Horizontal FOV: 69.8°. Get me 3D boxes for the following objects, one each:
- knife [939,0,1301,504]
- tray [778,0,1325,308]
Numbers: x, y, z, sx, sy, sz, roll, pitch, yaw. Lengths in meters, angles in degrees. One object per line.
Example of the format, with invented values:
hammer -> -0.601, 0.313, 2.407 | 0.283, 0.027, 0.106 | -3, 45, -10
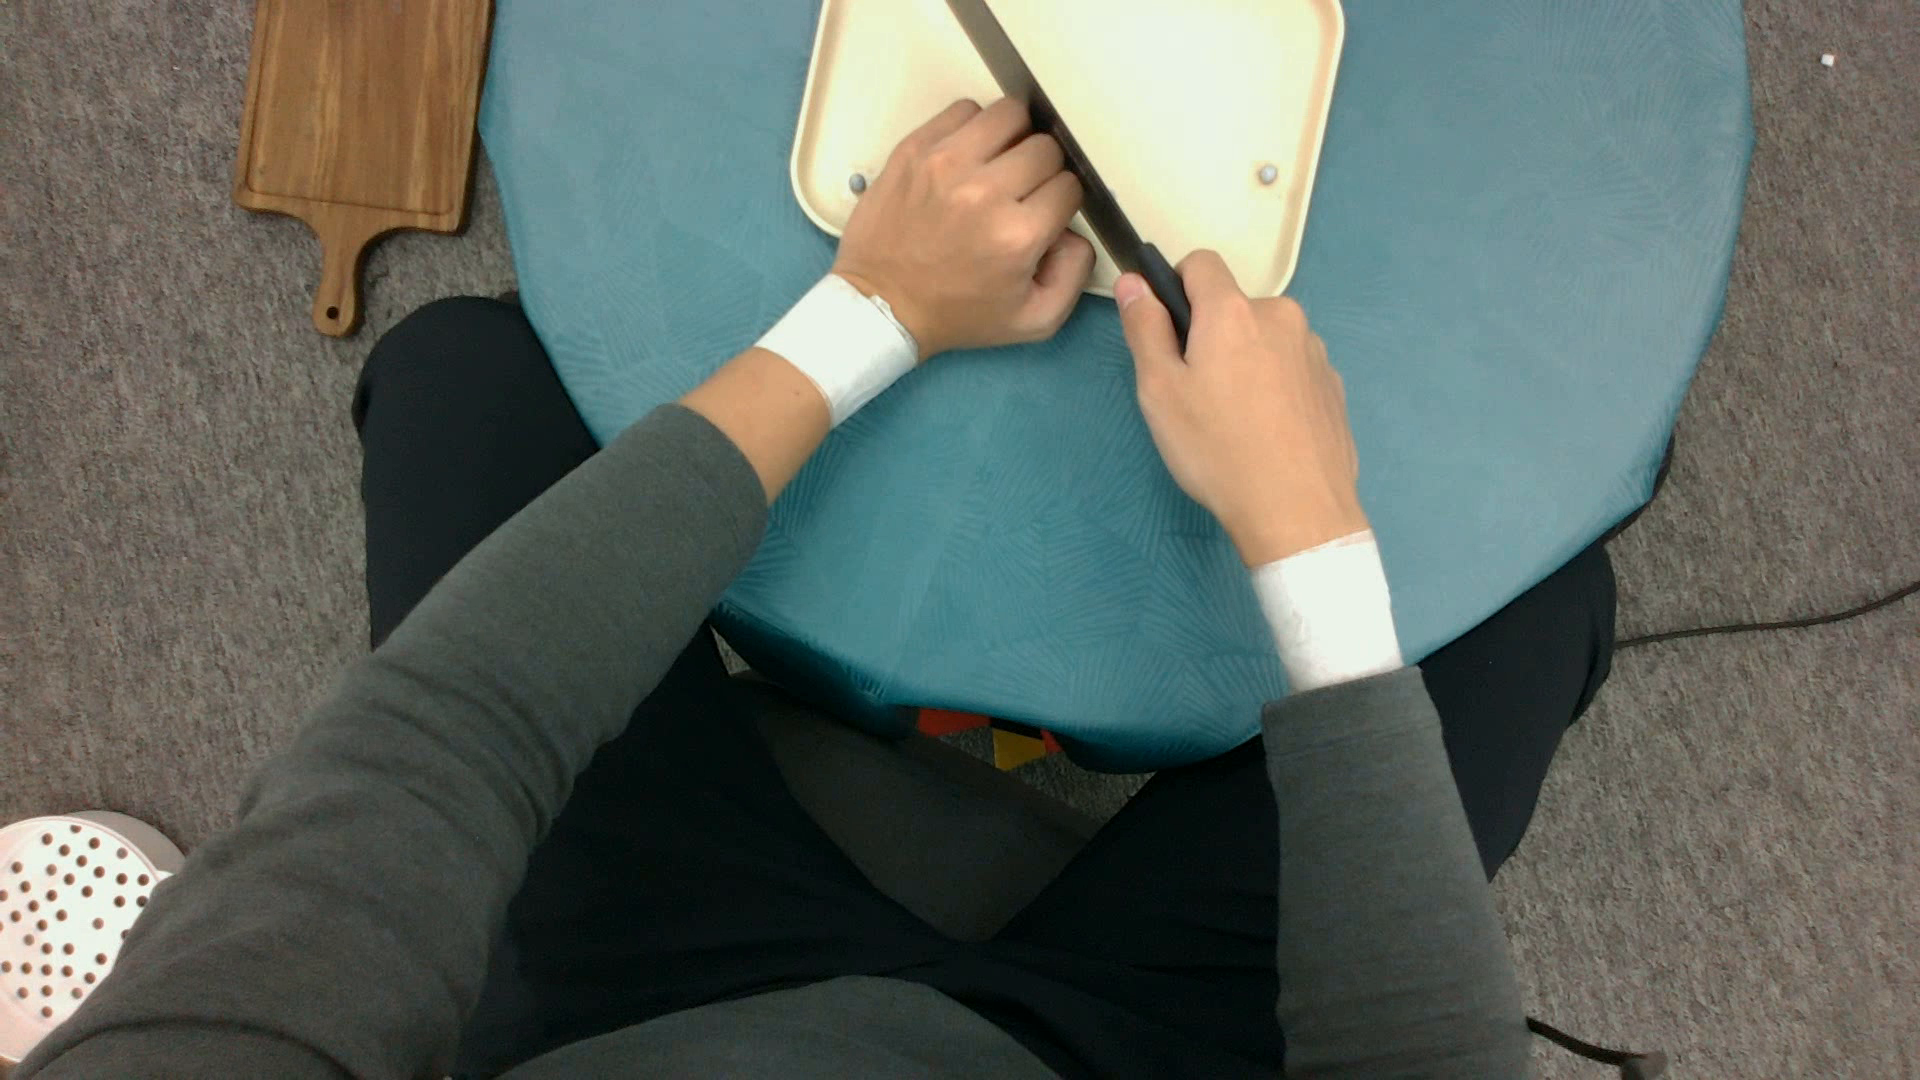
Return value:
knife -> 0.060, -0.145, 0.610 | 0.021, 0.081, 0.302 | -34, 87, 0
tray -> 0.043, -0.209, 0.648 | 0.240, 0.017, 0.171 | 12, 89, -1
